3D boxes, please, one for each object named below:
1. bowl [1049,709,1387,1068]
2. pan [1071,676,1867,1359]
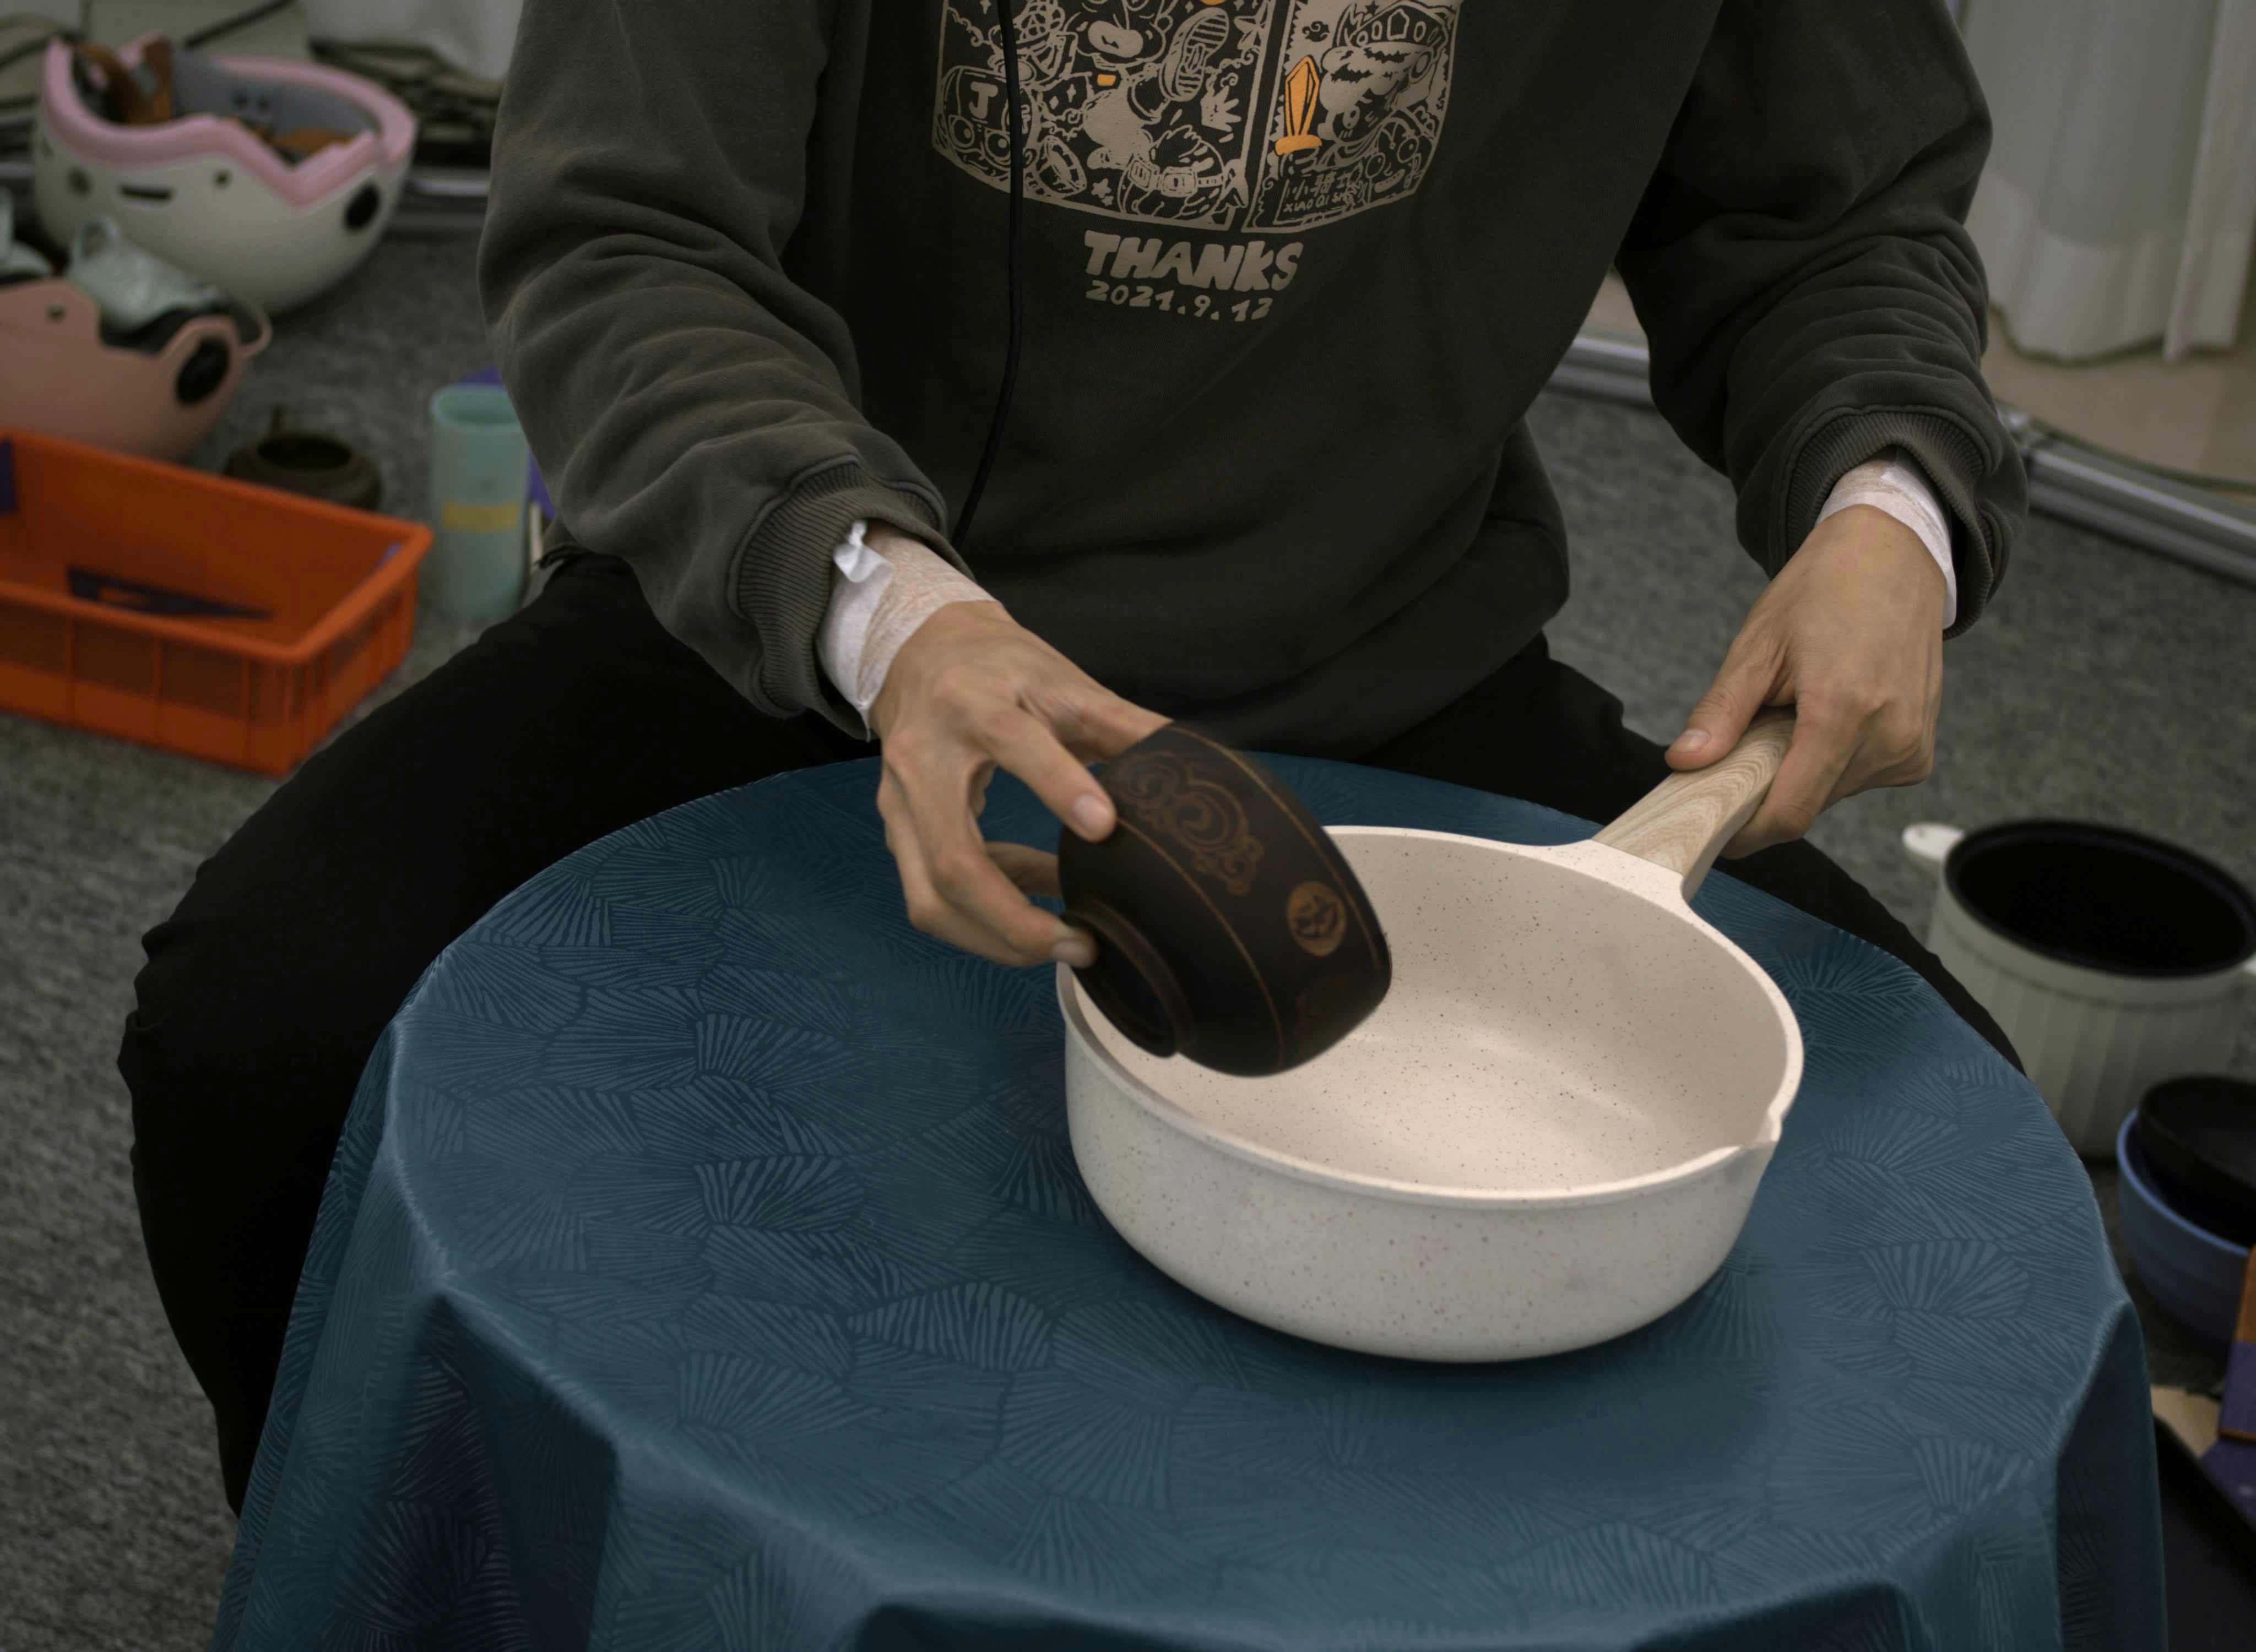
[{"bbox_3d":[0.019,0.028,1.704,0.070,0.117,0.119,-39,46,-20],"label":"bowl"},{"bbox_3d":[0.152,0.059,1.858,0.265,0.101,0.434,19,29,28],"label":"pan"}]
